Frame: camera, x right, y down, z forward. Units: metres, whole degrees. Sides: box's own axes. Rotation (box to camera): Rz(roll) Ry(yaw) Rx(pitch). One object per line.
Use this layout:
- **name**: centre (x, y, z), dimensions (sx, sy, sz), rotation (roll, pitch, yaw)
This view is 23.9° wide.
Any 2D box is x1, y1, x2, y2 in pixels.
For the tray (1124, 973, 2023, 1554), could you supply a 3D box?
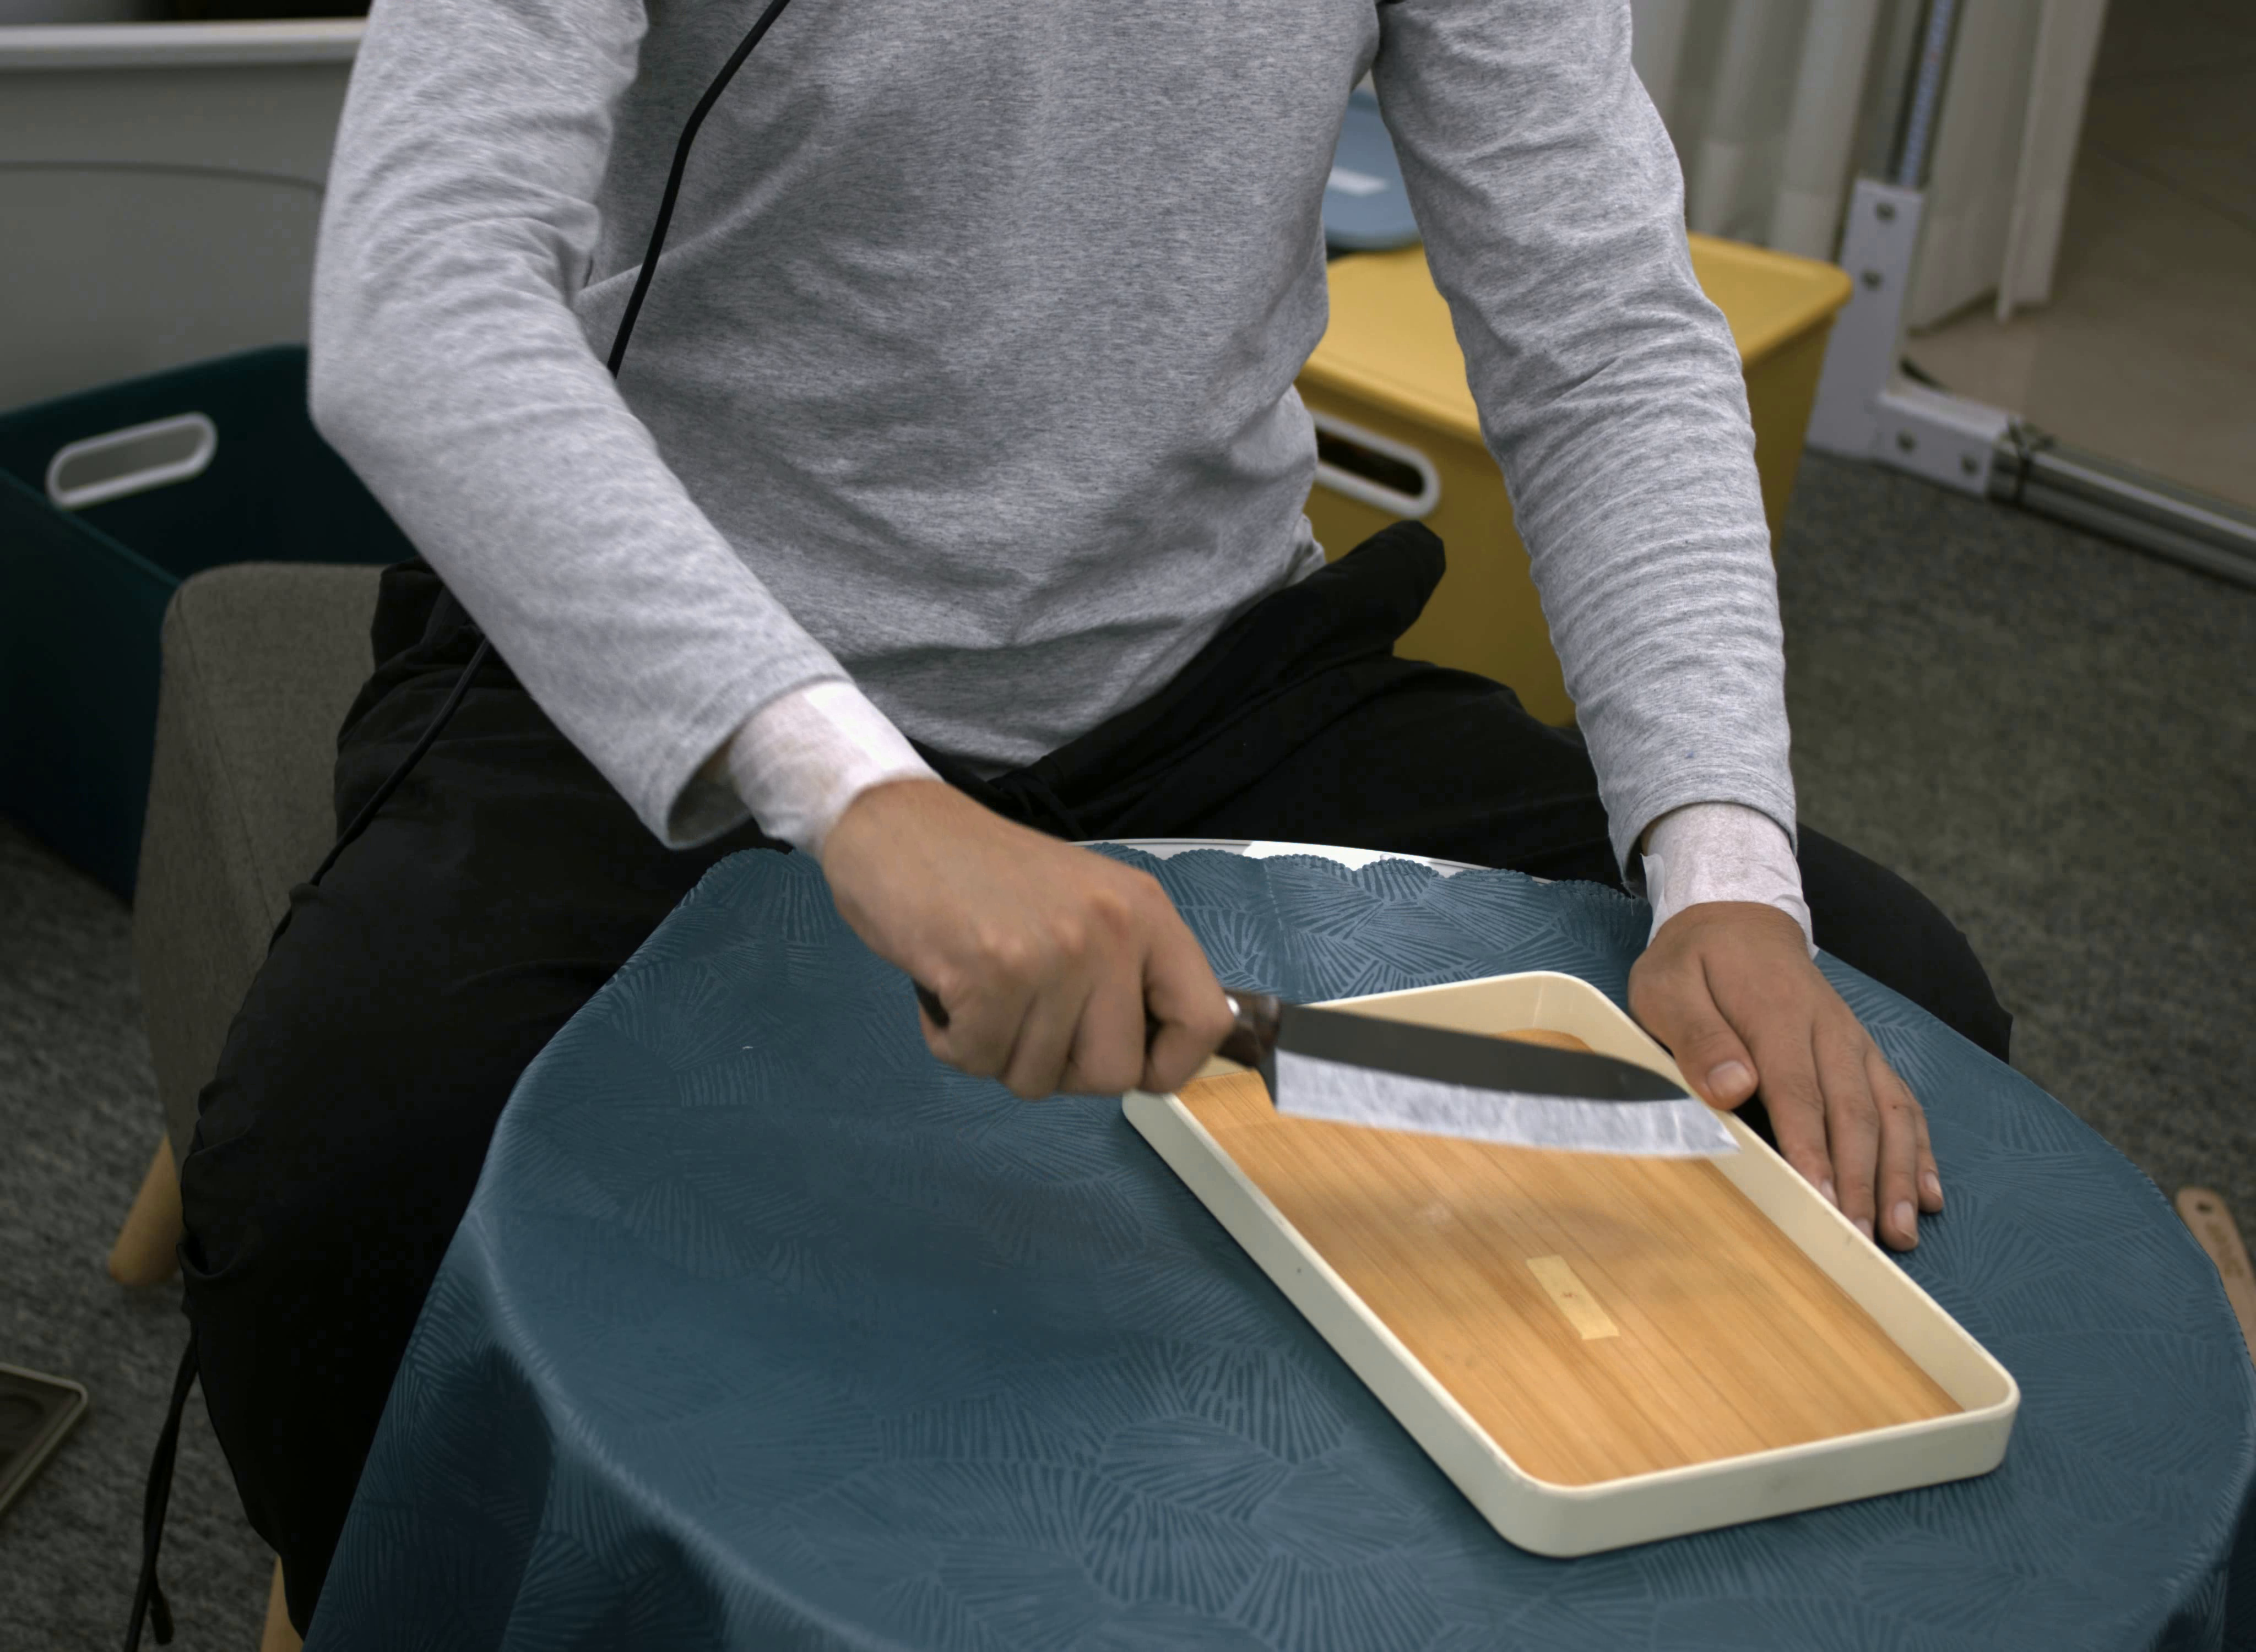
- **tray**: centre (0.142, 0.139, 1.778), dimensions (0.190, 0.027, 0.303), rotation (-7, 29, -25)

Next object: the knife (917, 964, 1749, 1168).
- **knife**: centre (0.070, 0.080, 1.744), dimensions (0.287, 0.020, 0.050), rotation (11, 54, -13)
